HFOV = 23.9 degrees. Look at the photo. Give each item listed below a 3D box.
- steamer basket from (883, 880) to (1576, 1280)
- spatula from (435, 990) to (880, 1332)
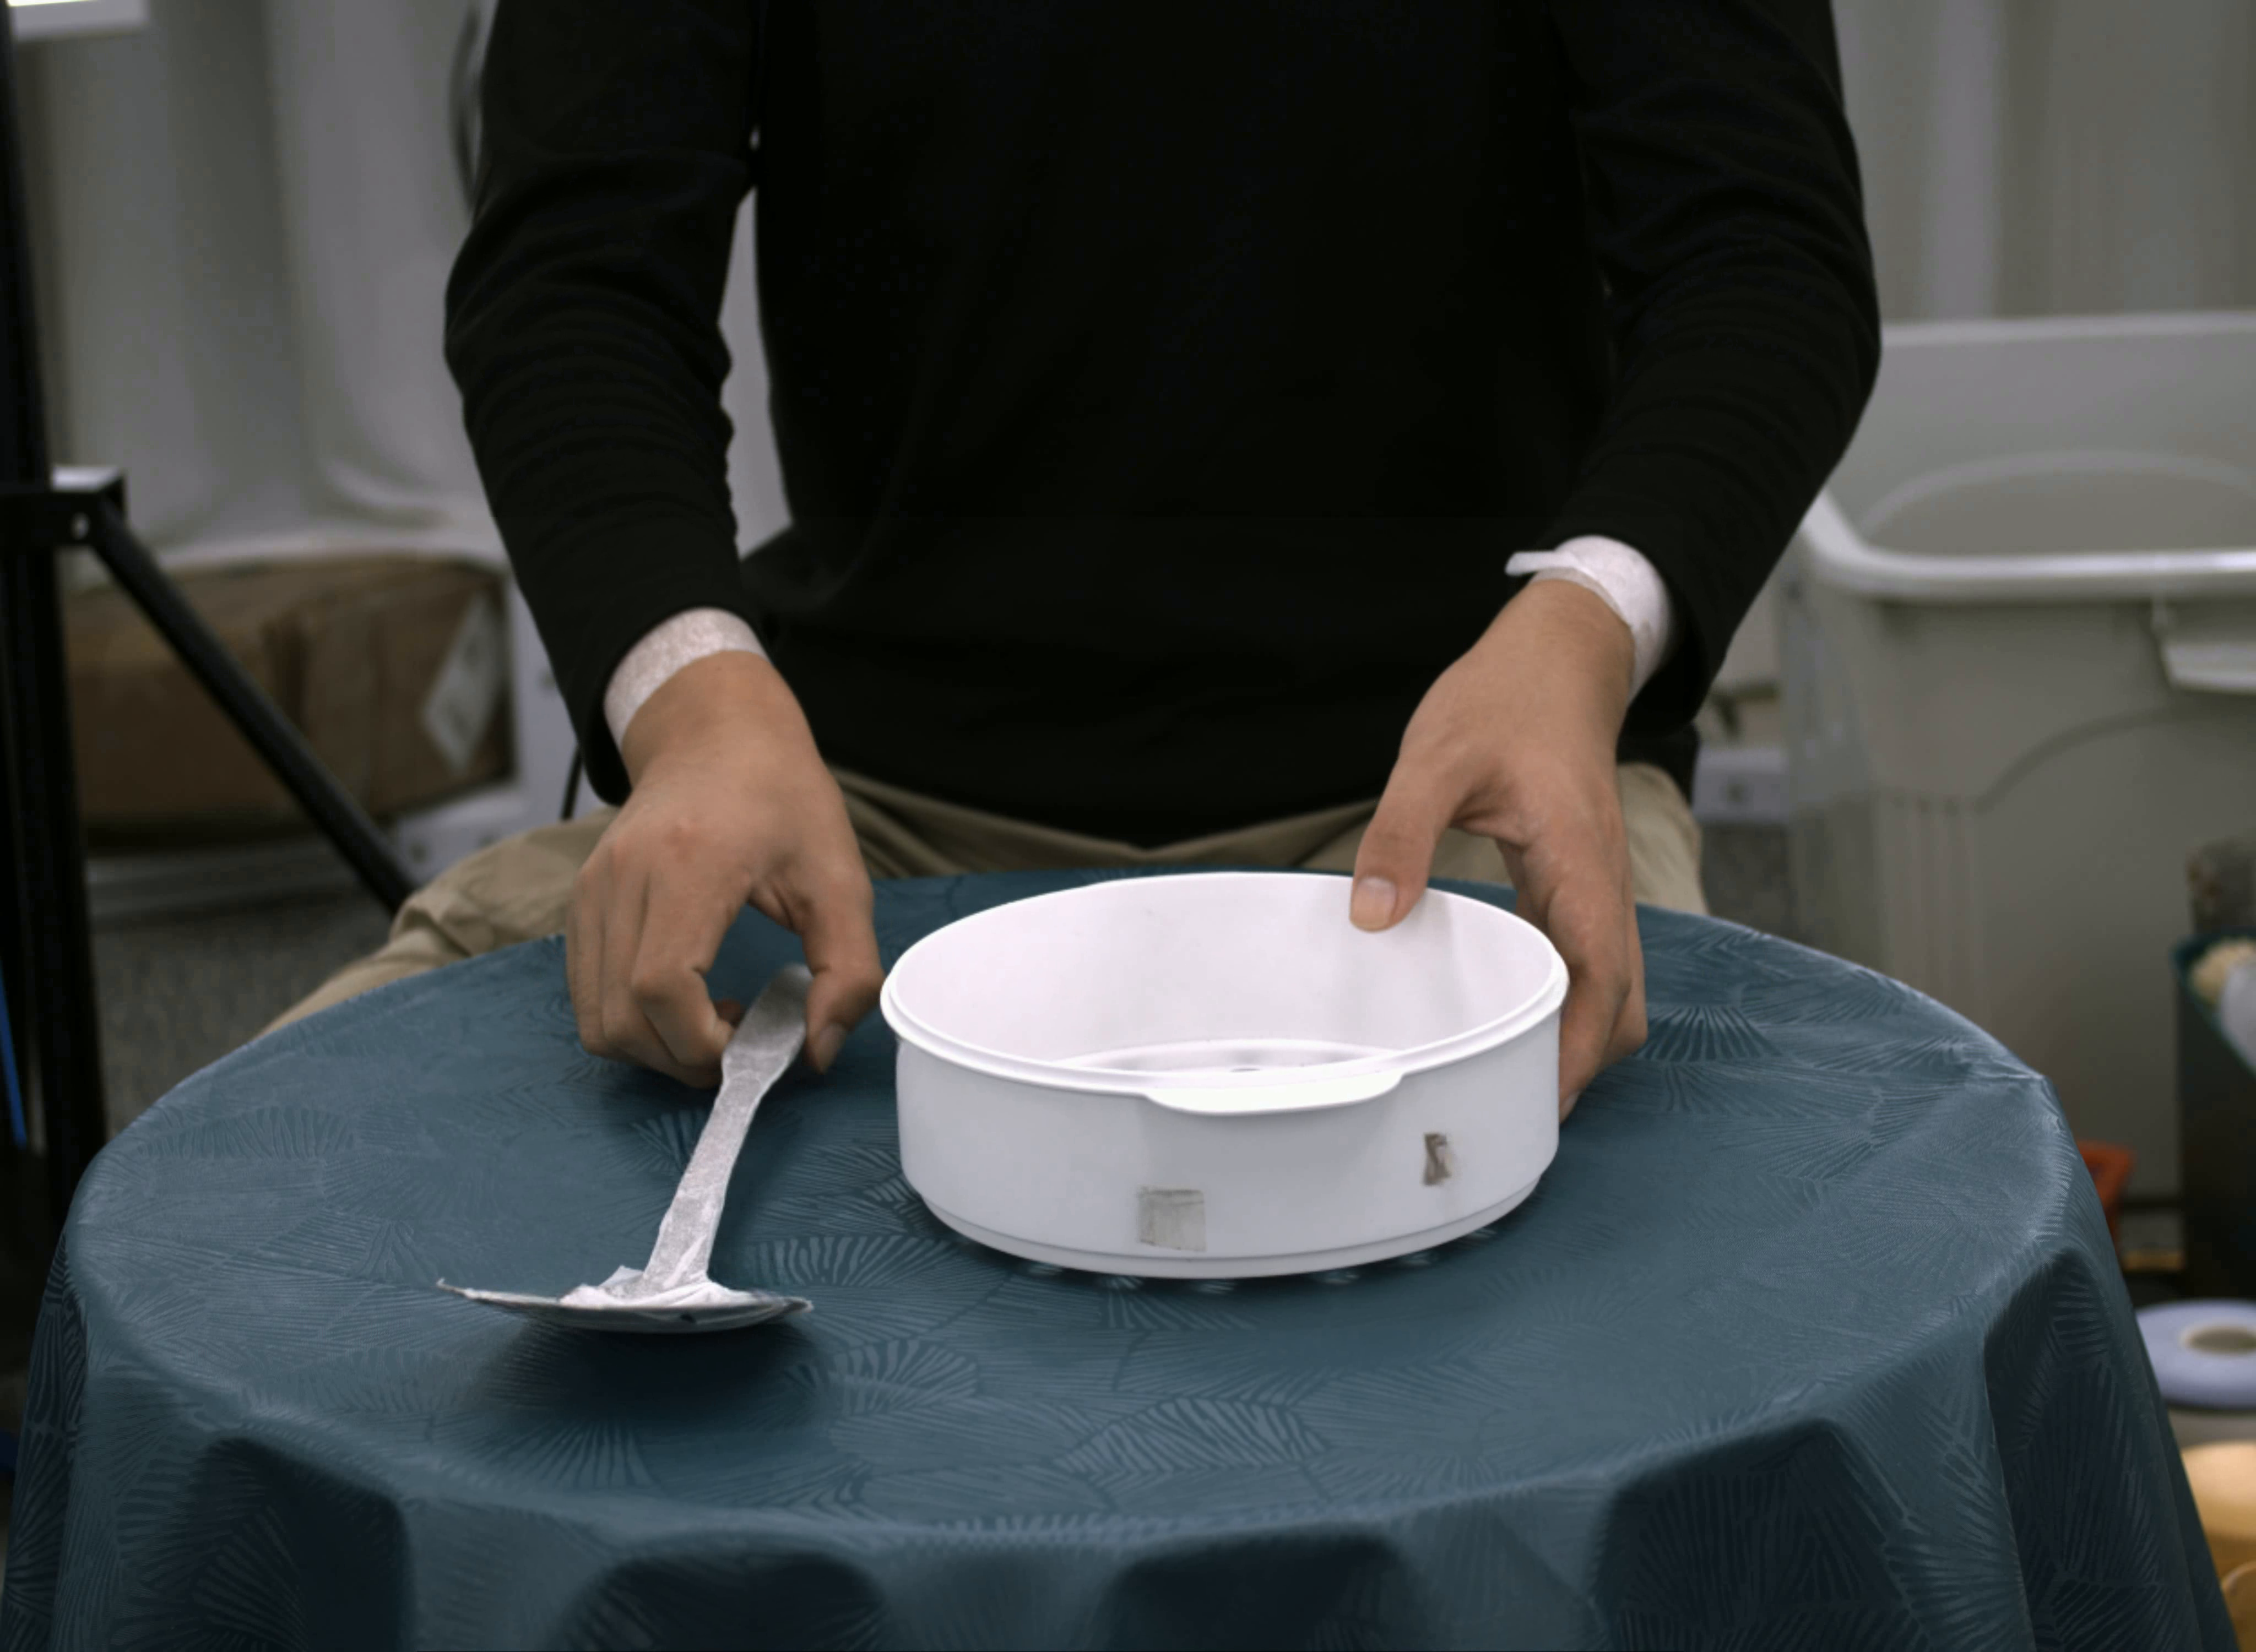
[{"bbox_3d":[0.030,0.073,1.547,0.200,0.069,0.232,-3,15,-5],"label":"steamer basket"},{"bbox_3d":[-0.115,0.089,1.566,0.099,0.045,0.364,-2,17,8],"label":"spatula"}]
